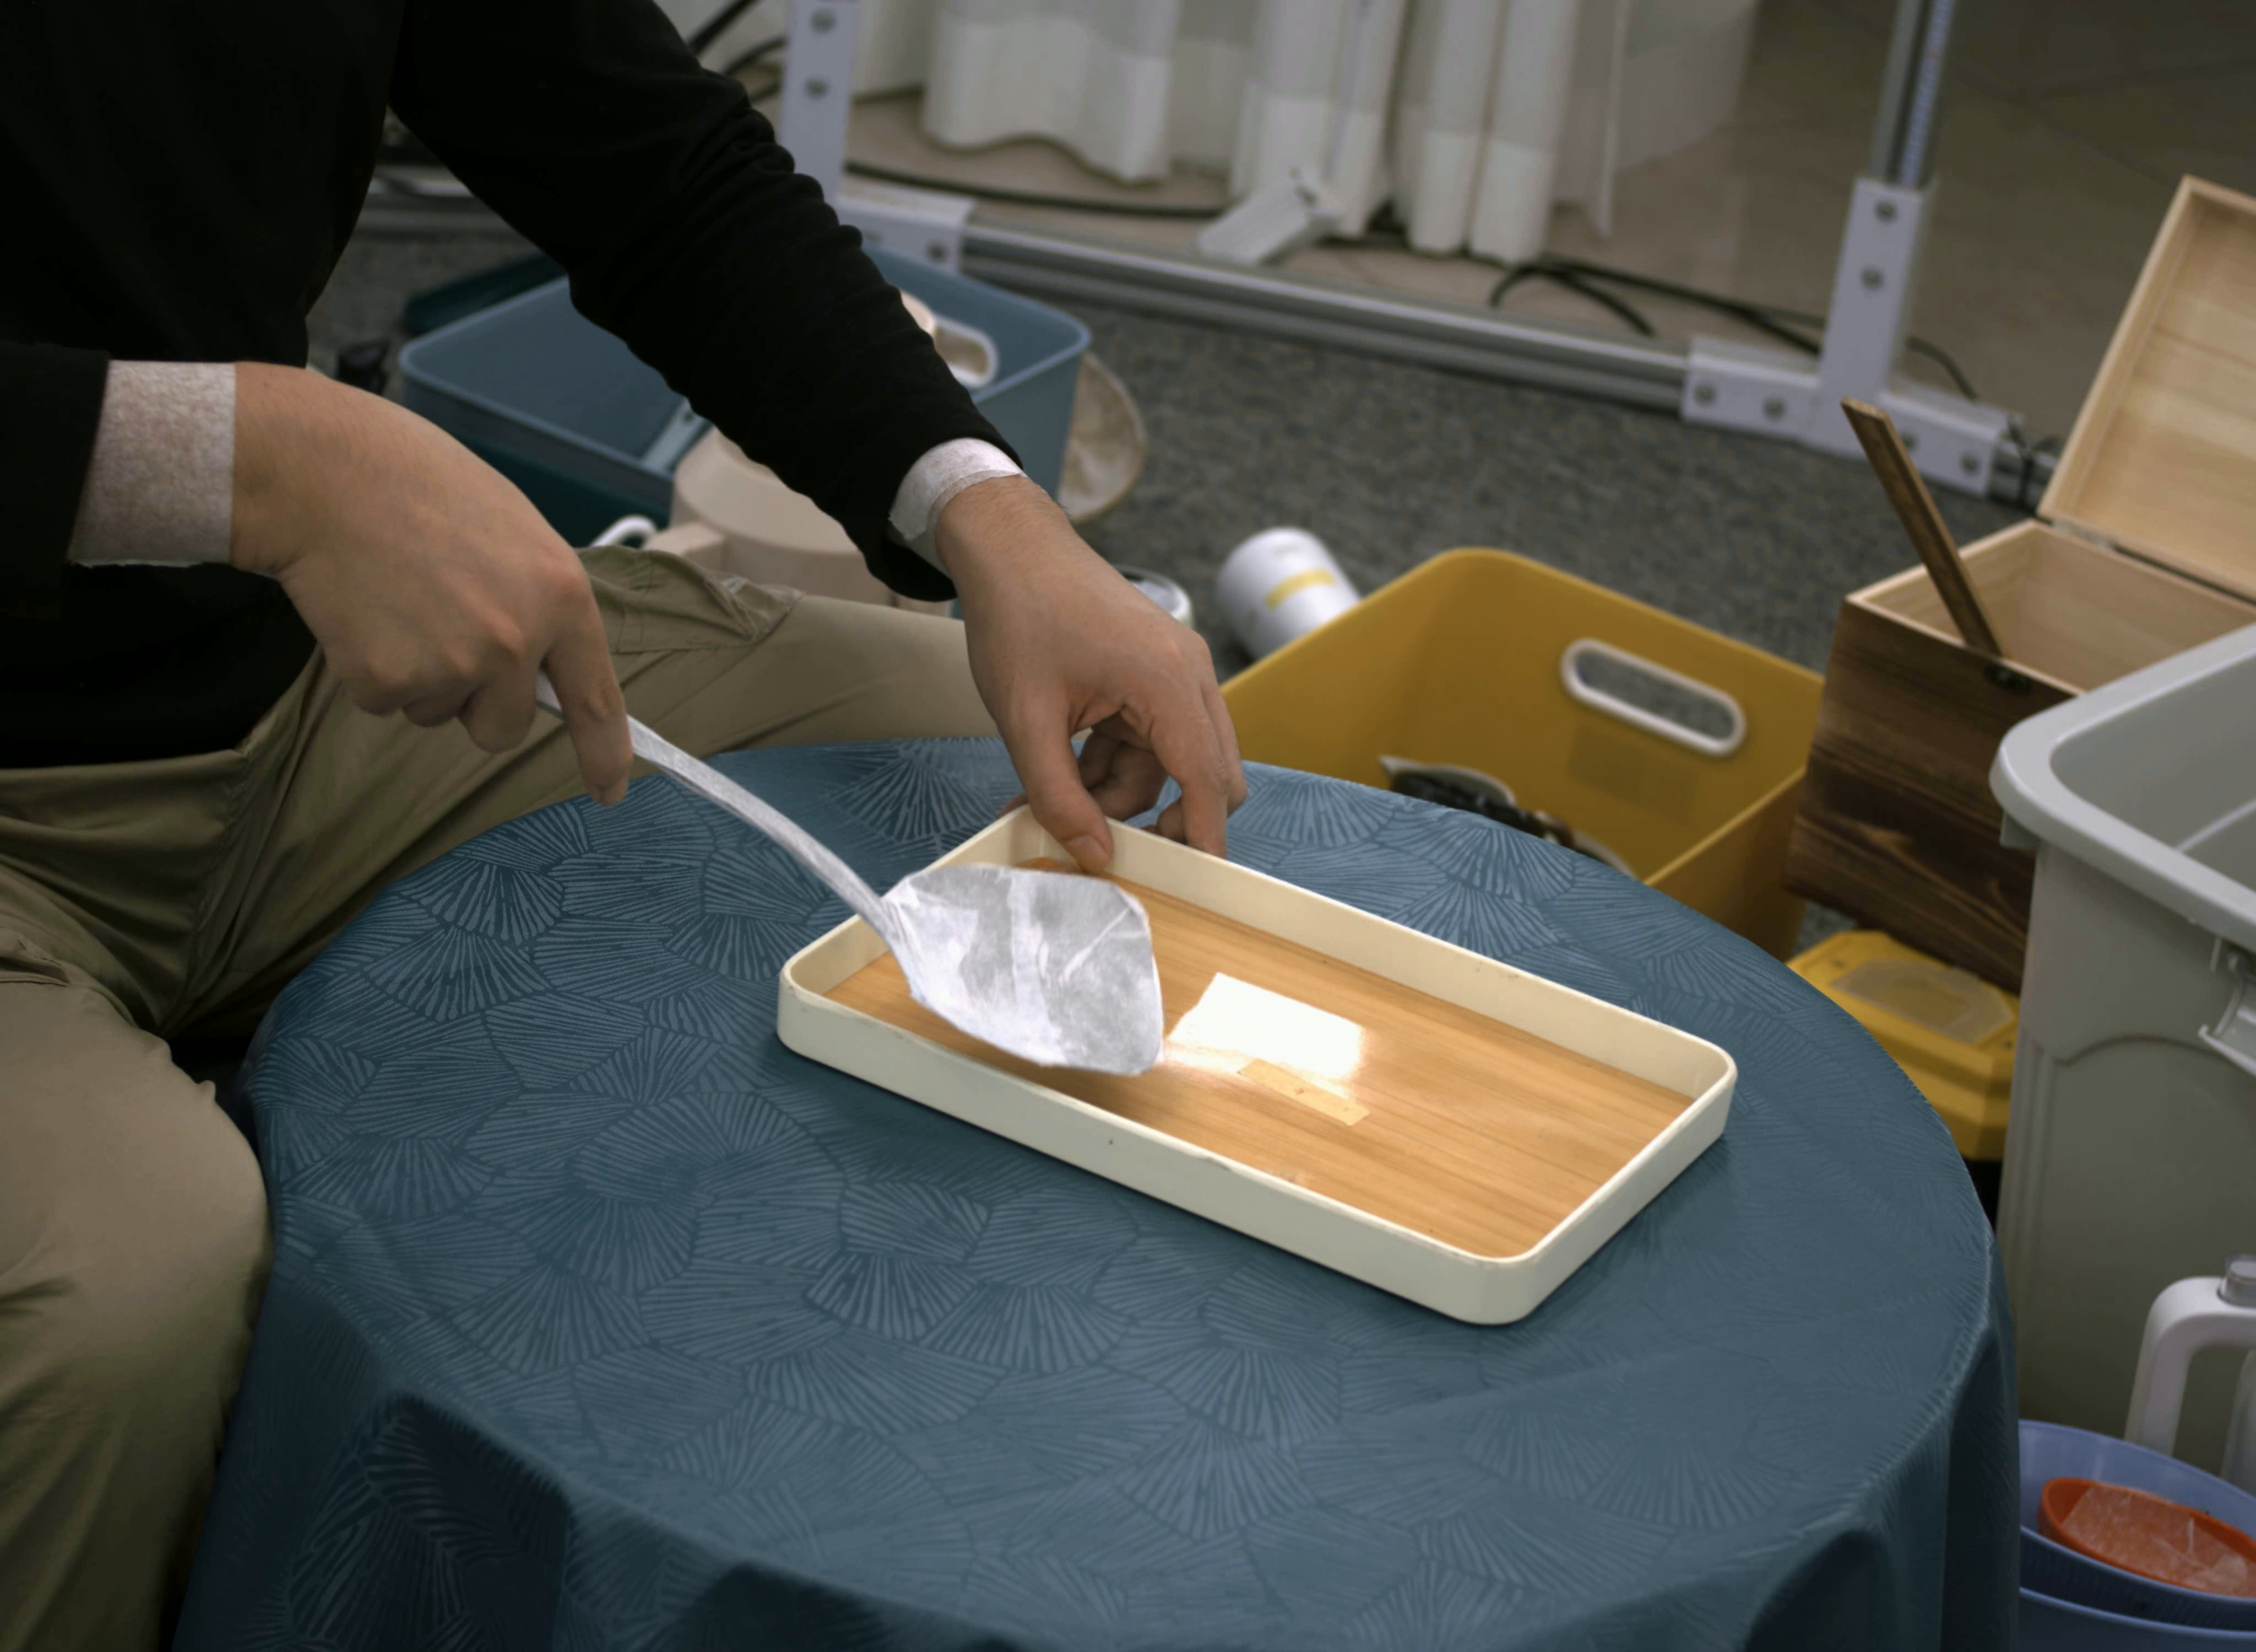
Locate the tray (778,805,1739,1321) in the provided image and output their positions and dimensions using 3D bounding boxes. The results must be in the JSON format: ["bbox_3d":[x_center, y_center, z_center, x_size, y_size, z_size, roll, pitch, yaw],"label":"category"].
[{"bbox_3d":[0.045,0.078,1.871,0.302,0.027,0.191,20,30,26],"label":"tray"}]

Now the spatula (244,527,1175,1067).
[{"bbox_3d":[-0.133,-0.017,1.772,0.362,0.045,0.099,32,34,-28],"label":"spatula"}]
